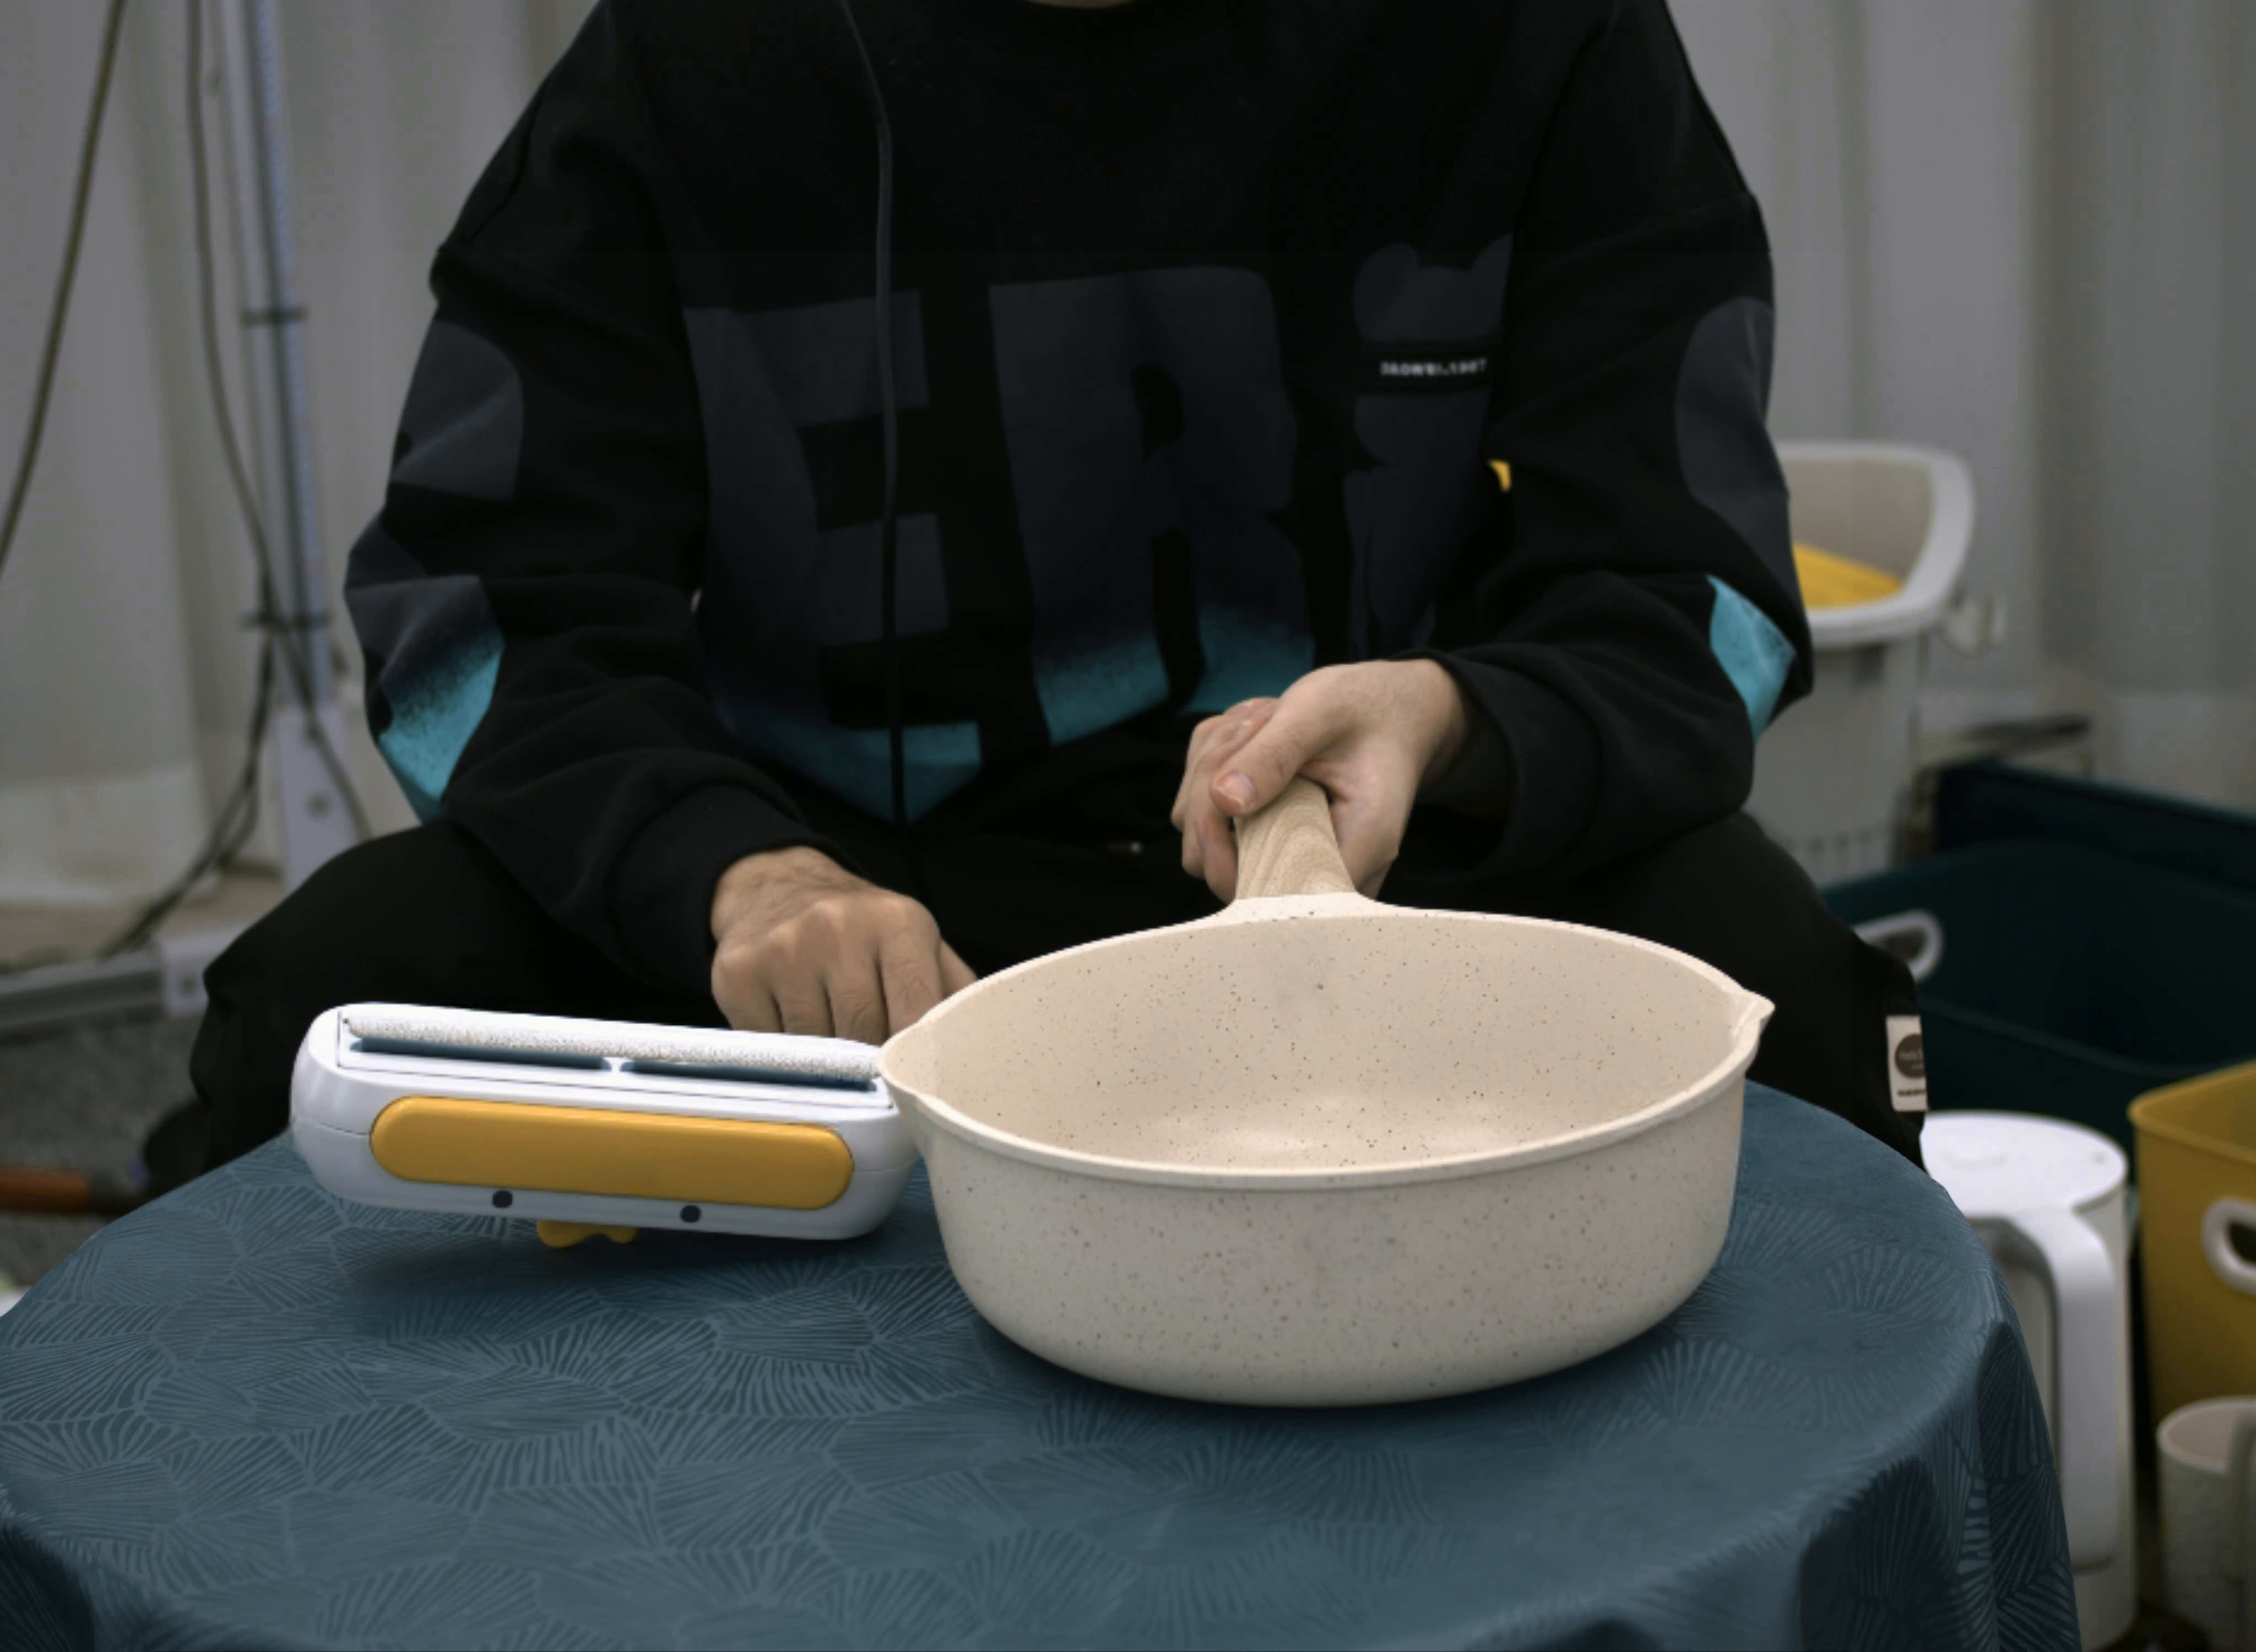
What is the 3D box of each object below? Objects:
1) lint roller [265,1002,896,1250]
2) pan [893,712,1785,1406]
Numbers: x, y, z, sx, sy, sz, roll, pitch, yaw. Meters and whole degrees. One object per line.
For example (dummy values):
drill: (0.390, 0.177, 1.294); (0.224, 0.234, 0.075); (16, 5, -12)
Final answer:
lint roller: (-0.172, 0.084, 1.733); (0.192, 0.074, 0.193); (1, 13, -5)
pan: (0.060, 0.066, 1.690); (0.262, 0.101, 0.438); (-6, 15, -1)
